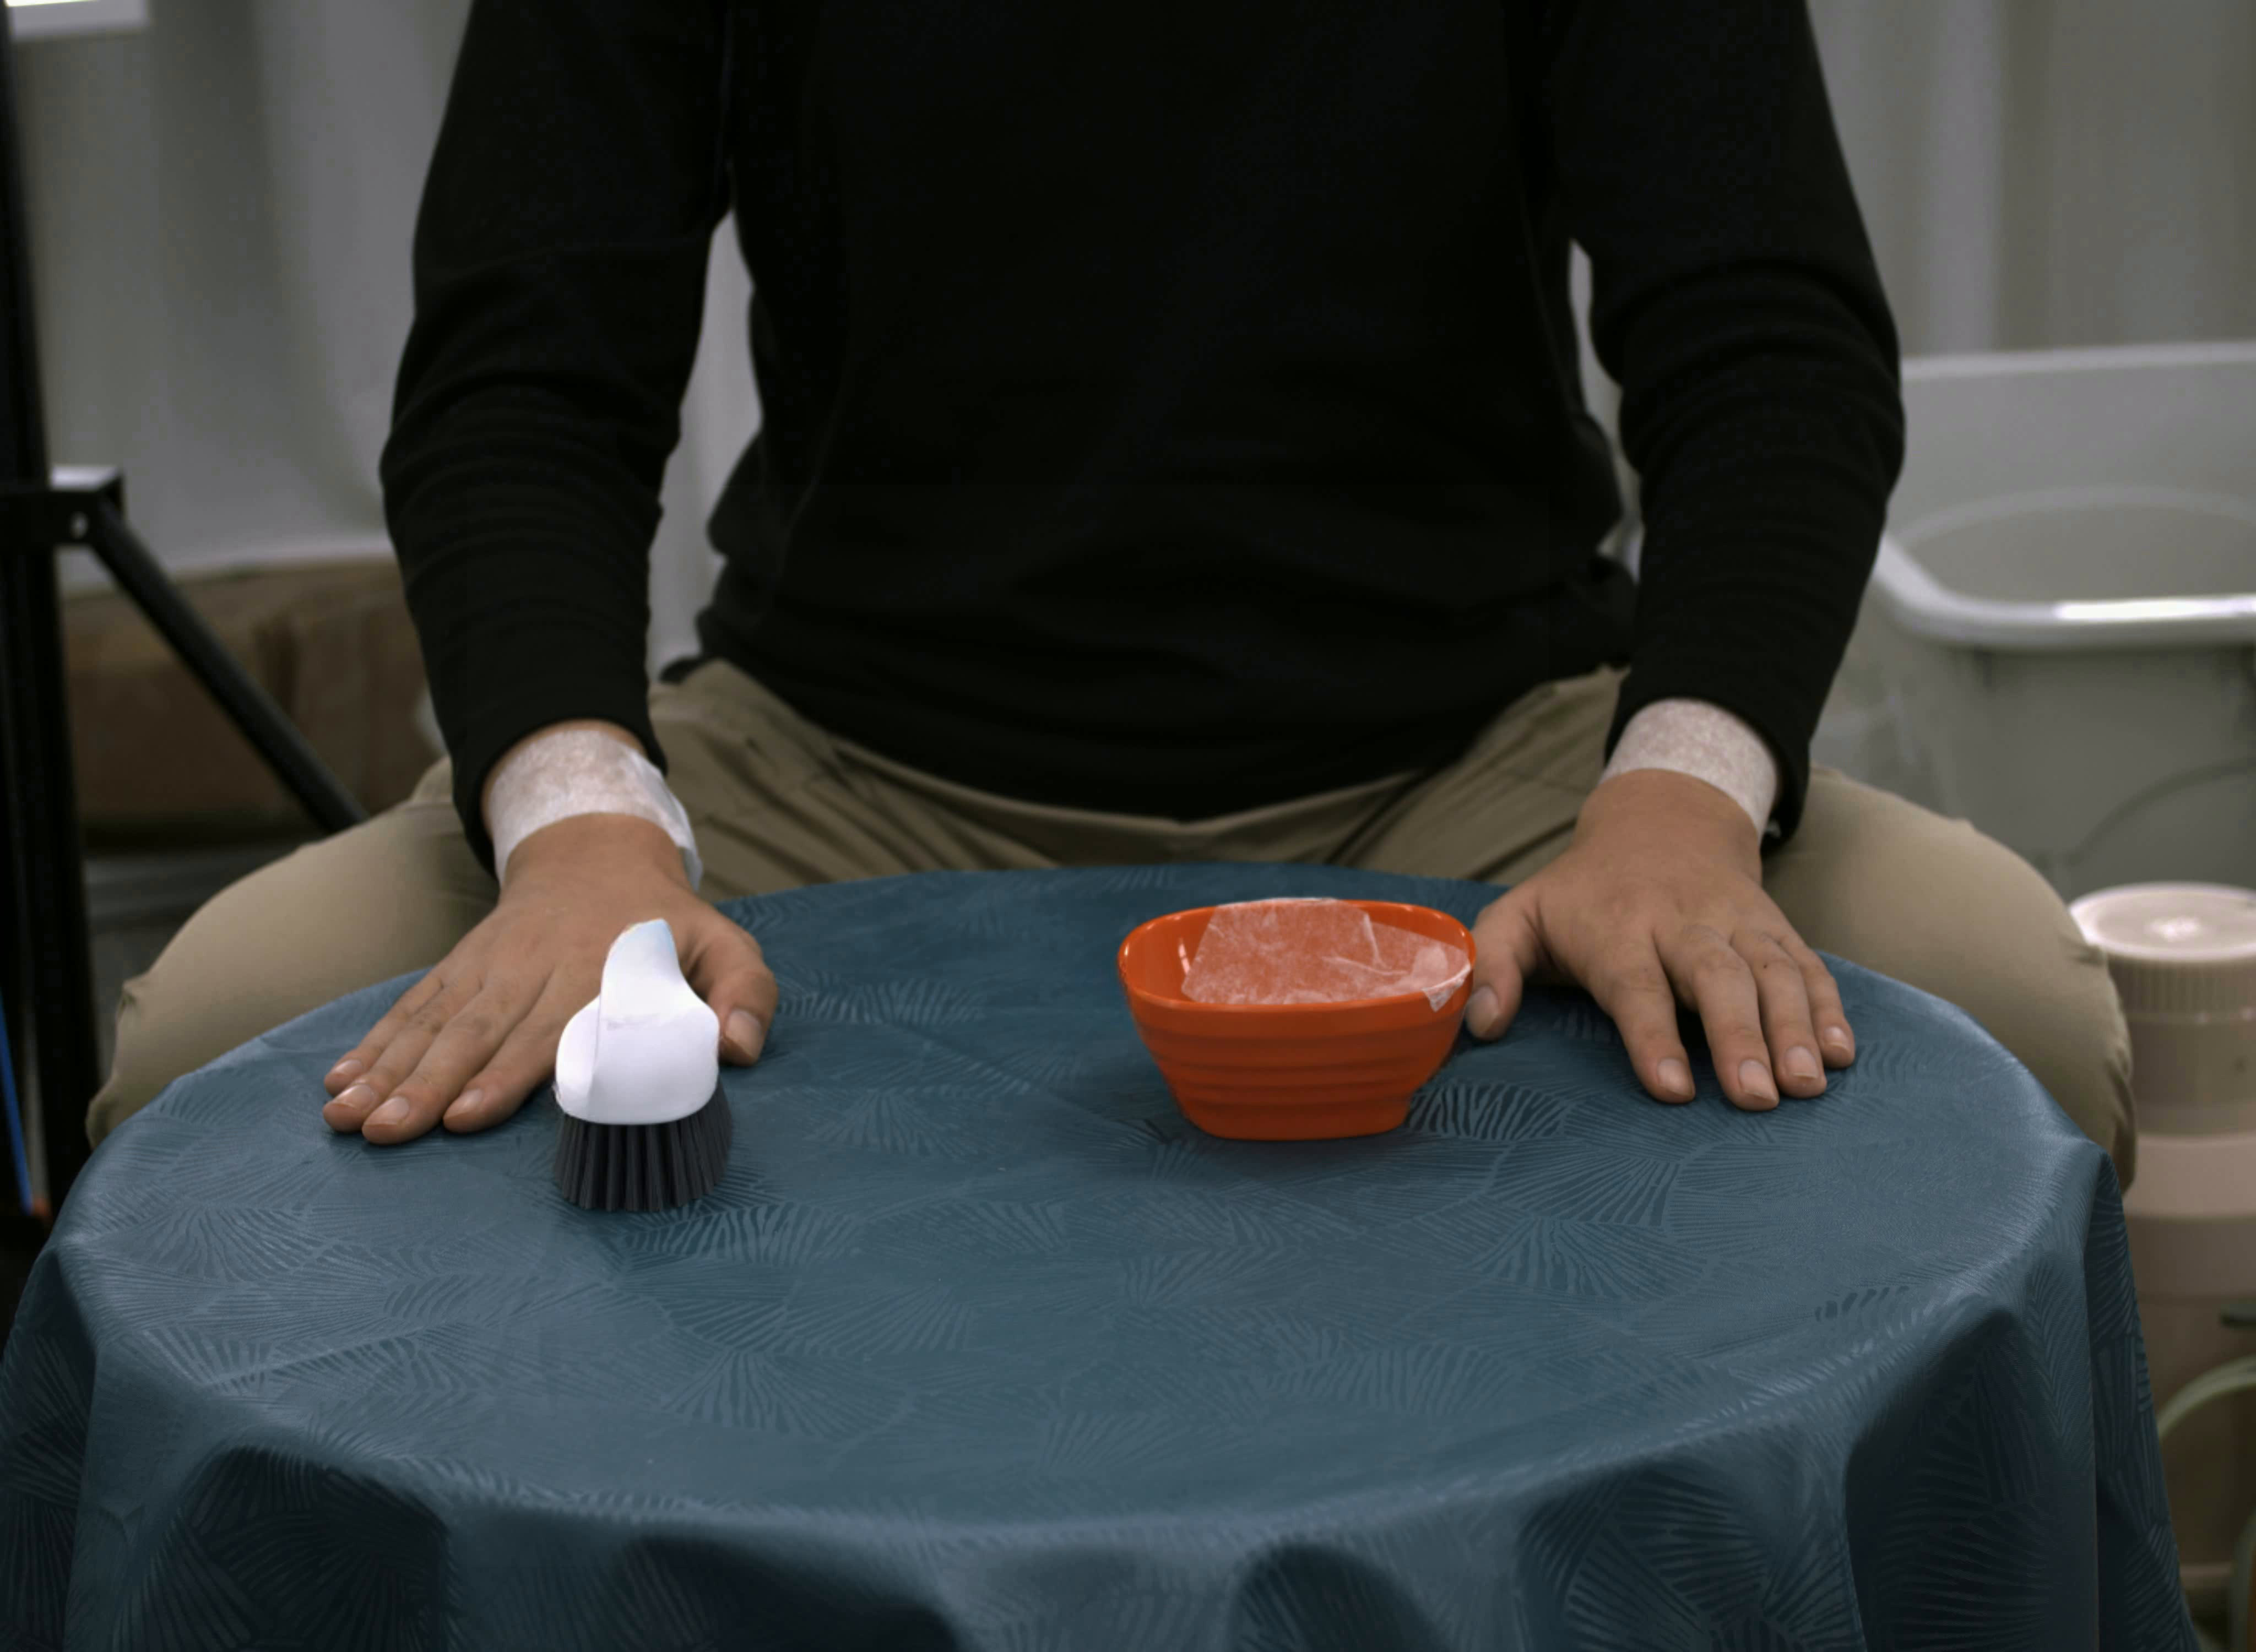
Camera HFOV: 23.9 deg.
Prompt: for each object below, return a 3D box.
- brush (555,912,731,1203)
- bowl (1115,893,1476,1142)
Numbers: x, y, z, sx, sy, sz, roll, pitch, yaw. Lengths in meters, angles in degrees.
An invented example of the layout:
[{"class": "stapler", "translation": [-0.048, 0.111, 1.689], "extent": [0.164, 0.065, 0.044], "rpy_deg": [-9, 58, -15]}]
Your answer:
[{"class": "brush", "translation": [-0.146, 0.064, 1.600], "extent": [0.050, 0.072, 0.099], "rpy_deg": [-2, 15, 2]}, {"class": "bowl", "translation": [0.052, 0.061, 1.618], "extent": [0.118, 0.051, 0.119], "rpy_deg": [-4, 17, 0]}]
